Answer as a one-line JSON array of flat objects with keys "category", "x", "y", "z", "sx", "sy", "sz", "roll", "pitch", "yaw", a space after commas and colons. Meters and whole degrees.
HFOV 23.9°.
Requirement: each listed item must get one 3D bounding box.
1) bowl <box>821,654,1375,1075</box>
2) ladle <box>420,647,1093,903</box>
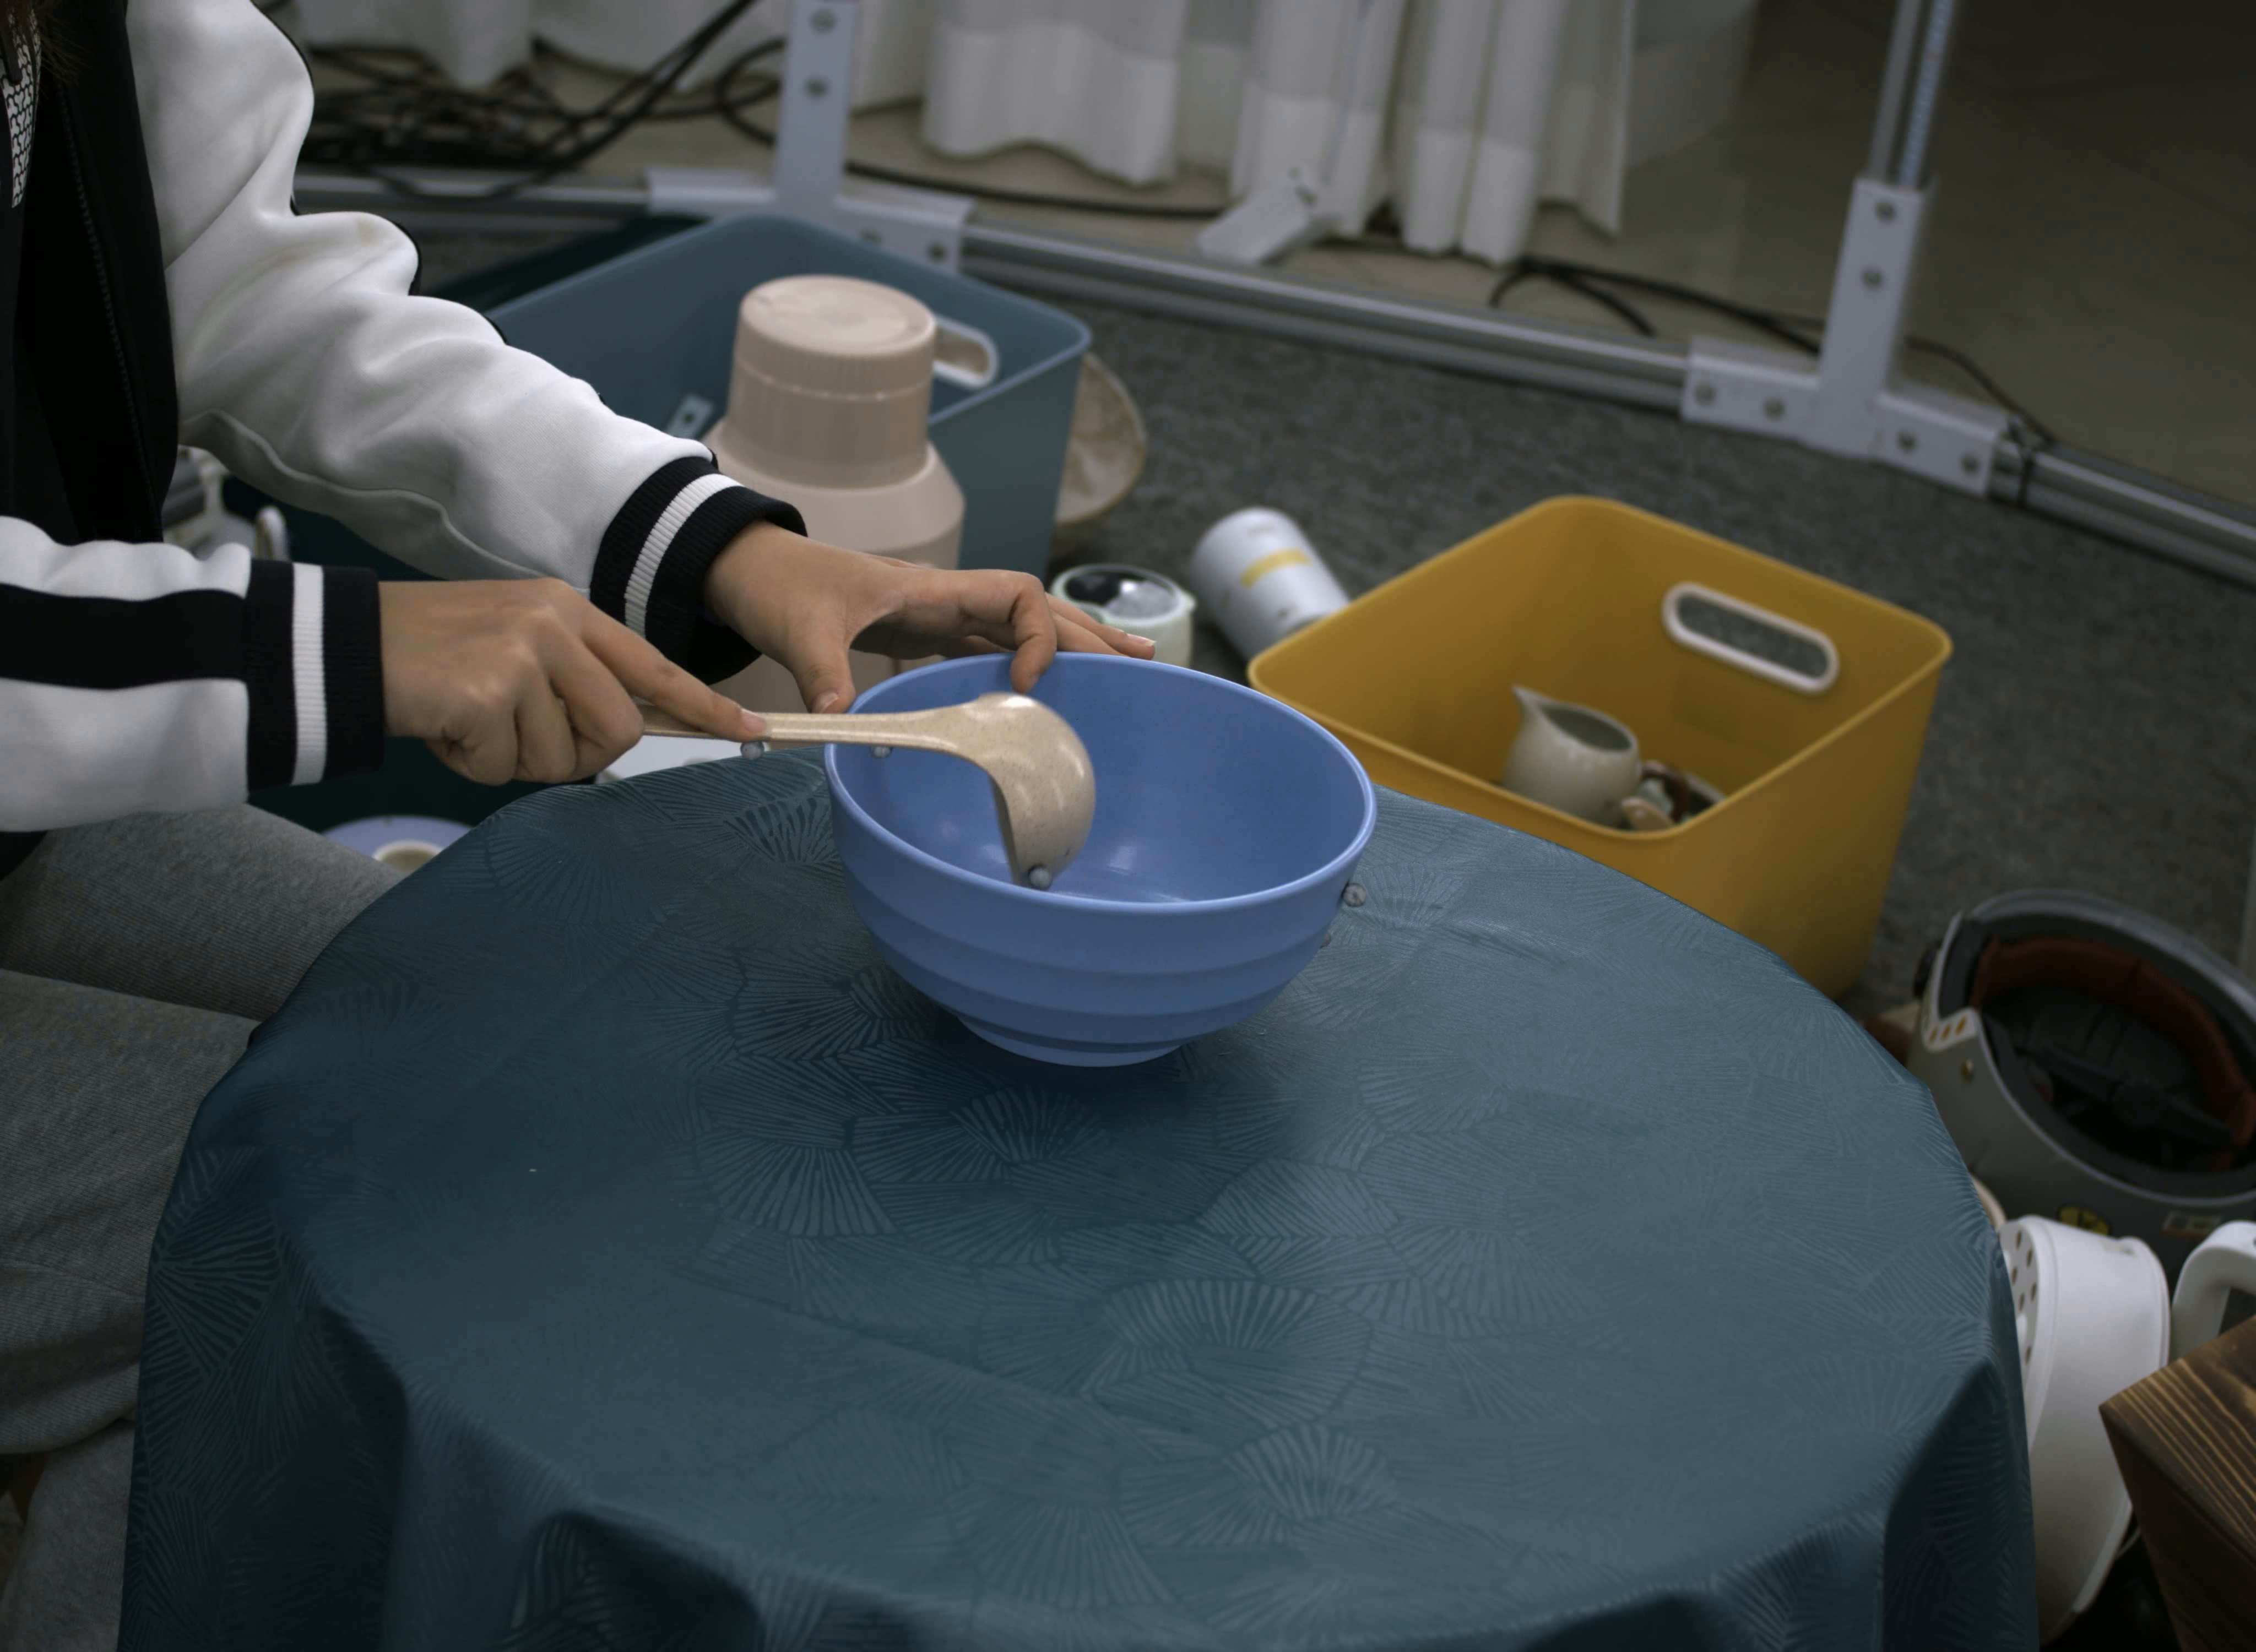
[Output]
[{"category": "bowl", "x": -0.014, "y": 0.025, "z": 1.895, "sx": 0.196, "sy": 0.095, "sz": 0.198, "roll": 4, "pitch": 28, "yaw": -3}, {"category": "ladle", "x": -0.134, "y": -0.018, "z": 1.844, "sx": 0.252, "sy": 0.072, "sz": 0.073, "roll": 7, "pitch": 46, "yaw": -23}]
